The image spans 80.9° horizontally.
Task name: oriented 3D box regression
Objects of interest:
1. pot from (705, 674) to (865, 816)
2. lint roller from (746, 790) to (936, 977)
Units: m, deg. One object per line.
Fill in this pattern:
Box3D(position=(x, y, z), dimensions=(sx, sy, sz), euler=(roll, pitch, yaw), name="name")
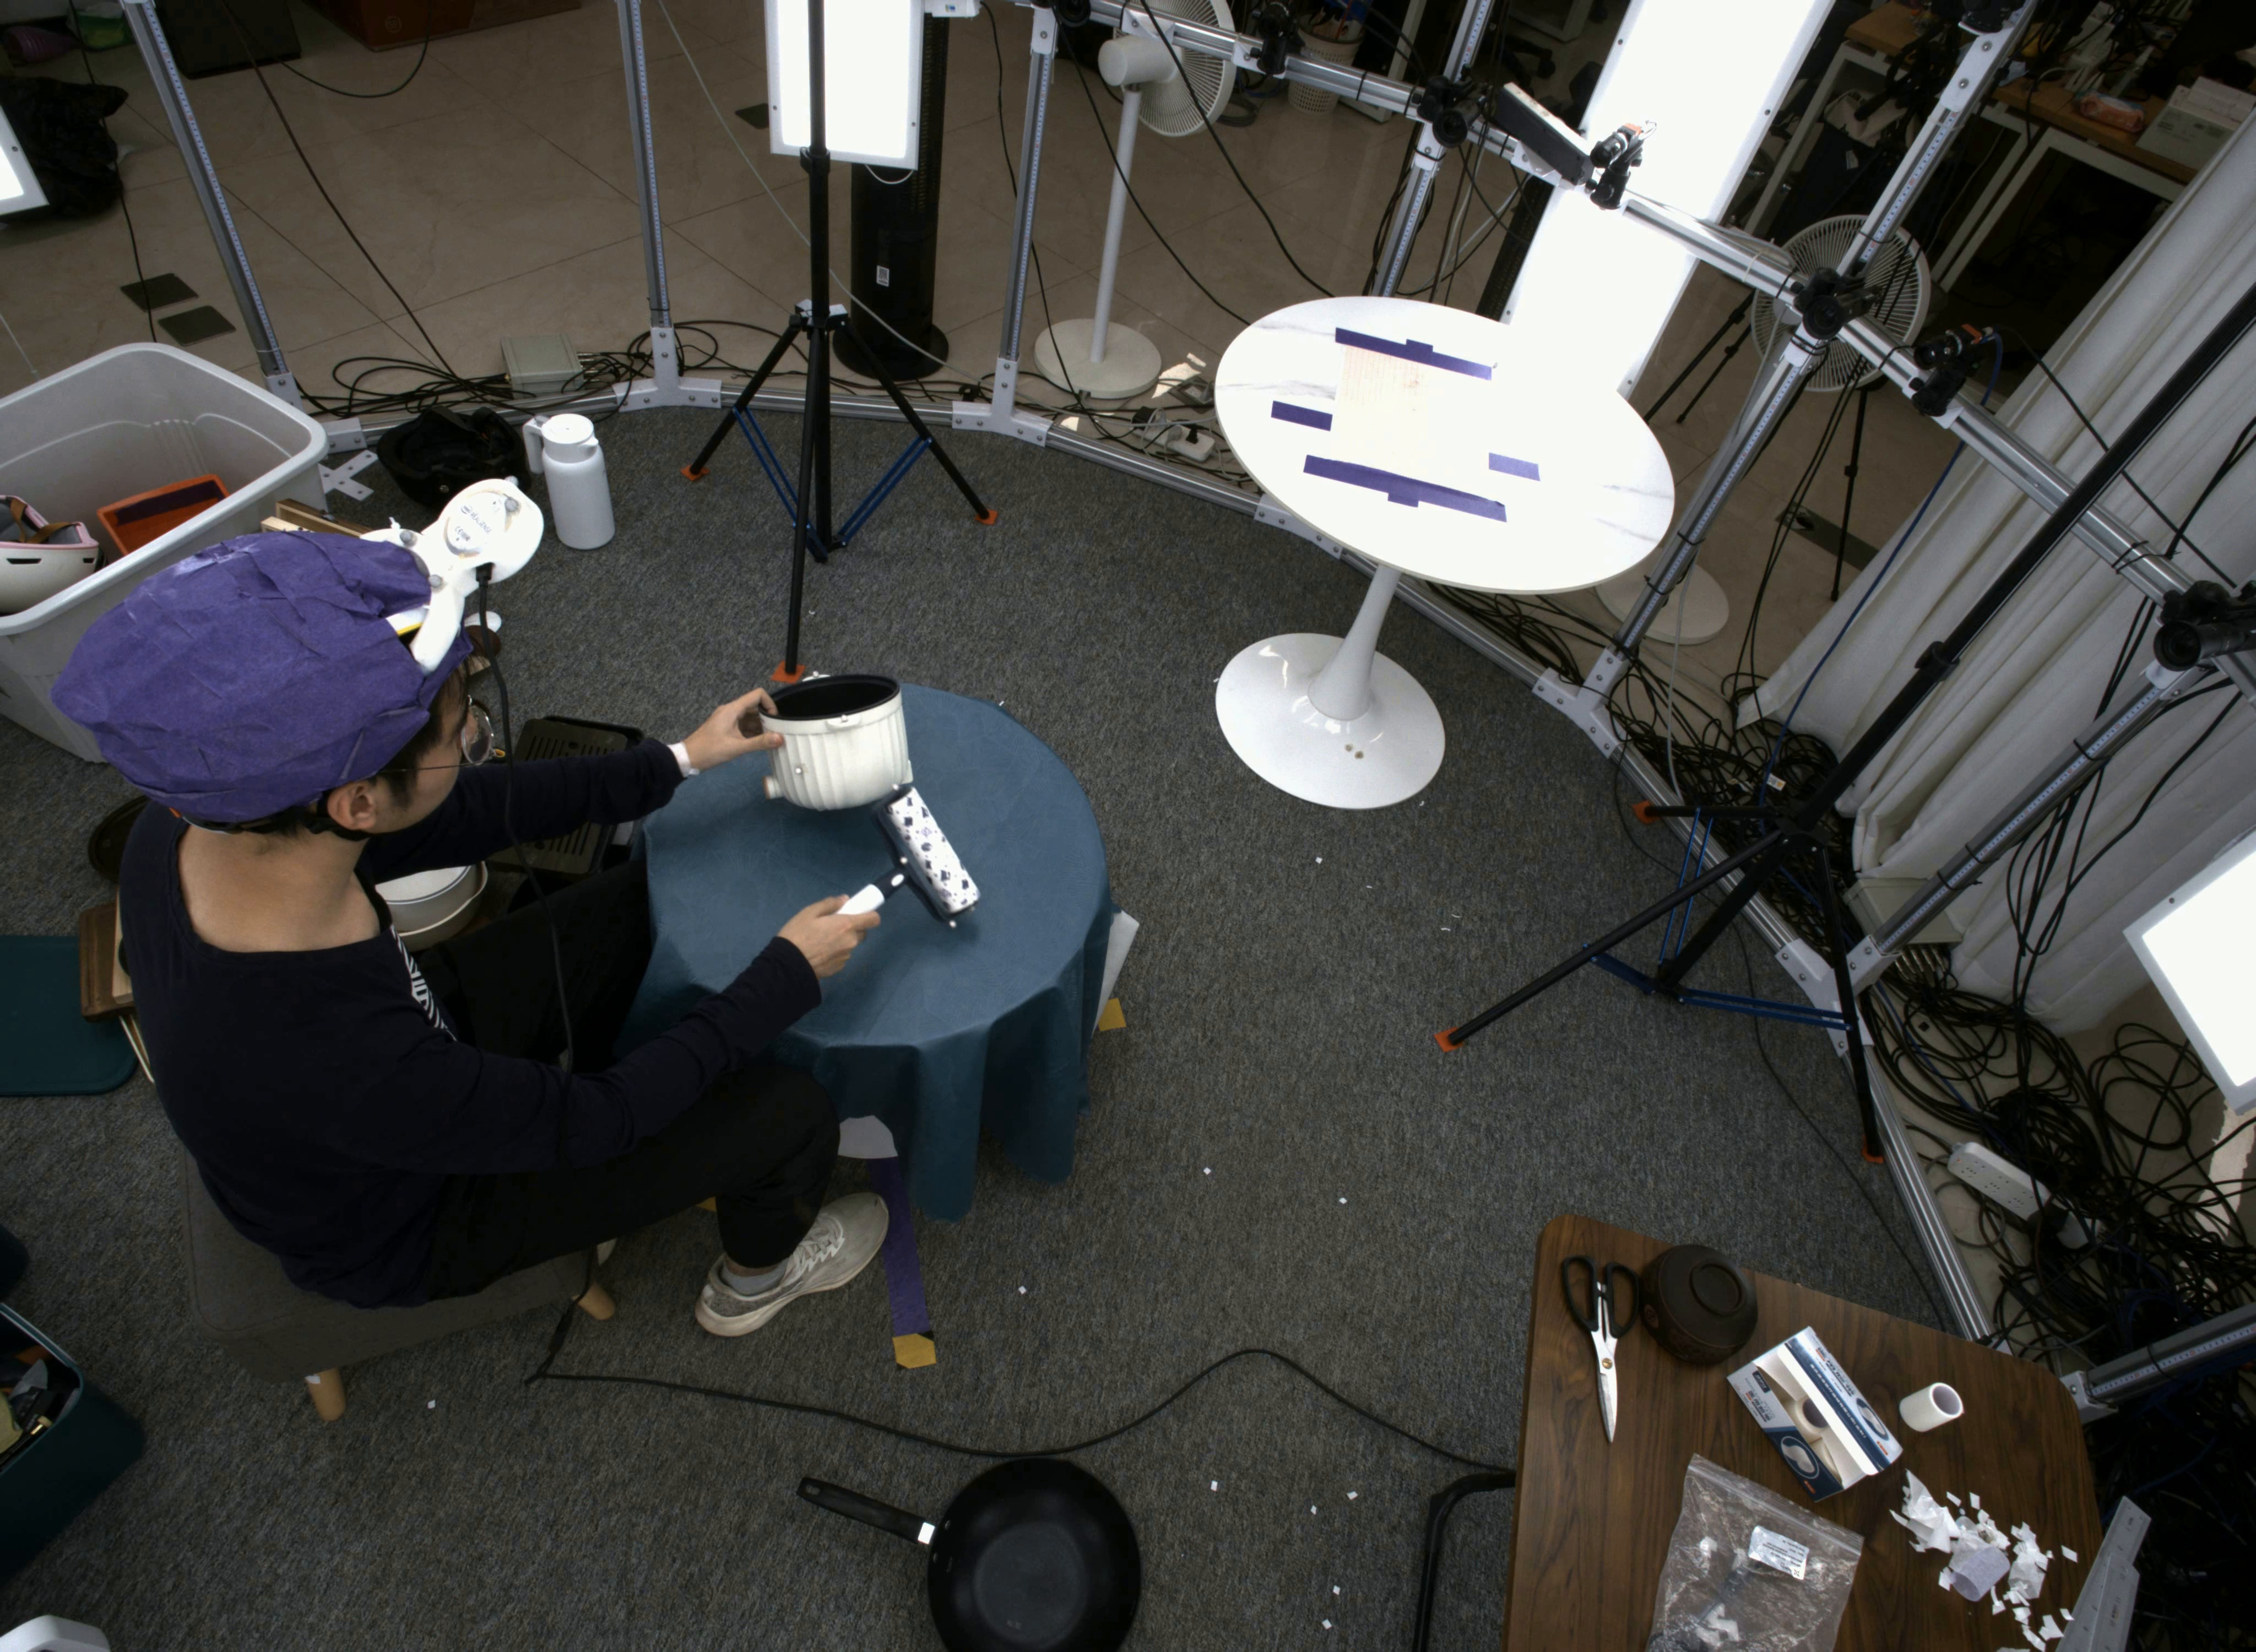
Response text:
Box3D(position=(-0.443, -0.100, 1.663), dimensions=(0.191, 0.147, 0.232), euler=(-14, 24, -23), name="pot")
Box3D(position=(-0.360, 0.096, 1.569), dimensions=(0.247, 0.049, 0.181), euler=(-46, 115, -34), name="lint roller")
